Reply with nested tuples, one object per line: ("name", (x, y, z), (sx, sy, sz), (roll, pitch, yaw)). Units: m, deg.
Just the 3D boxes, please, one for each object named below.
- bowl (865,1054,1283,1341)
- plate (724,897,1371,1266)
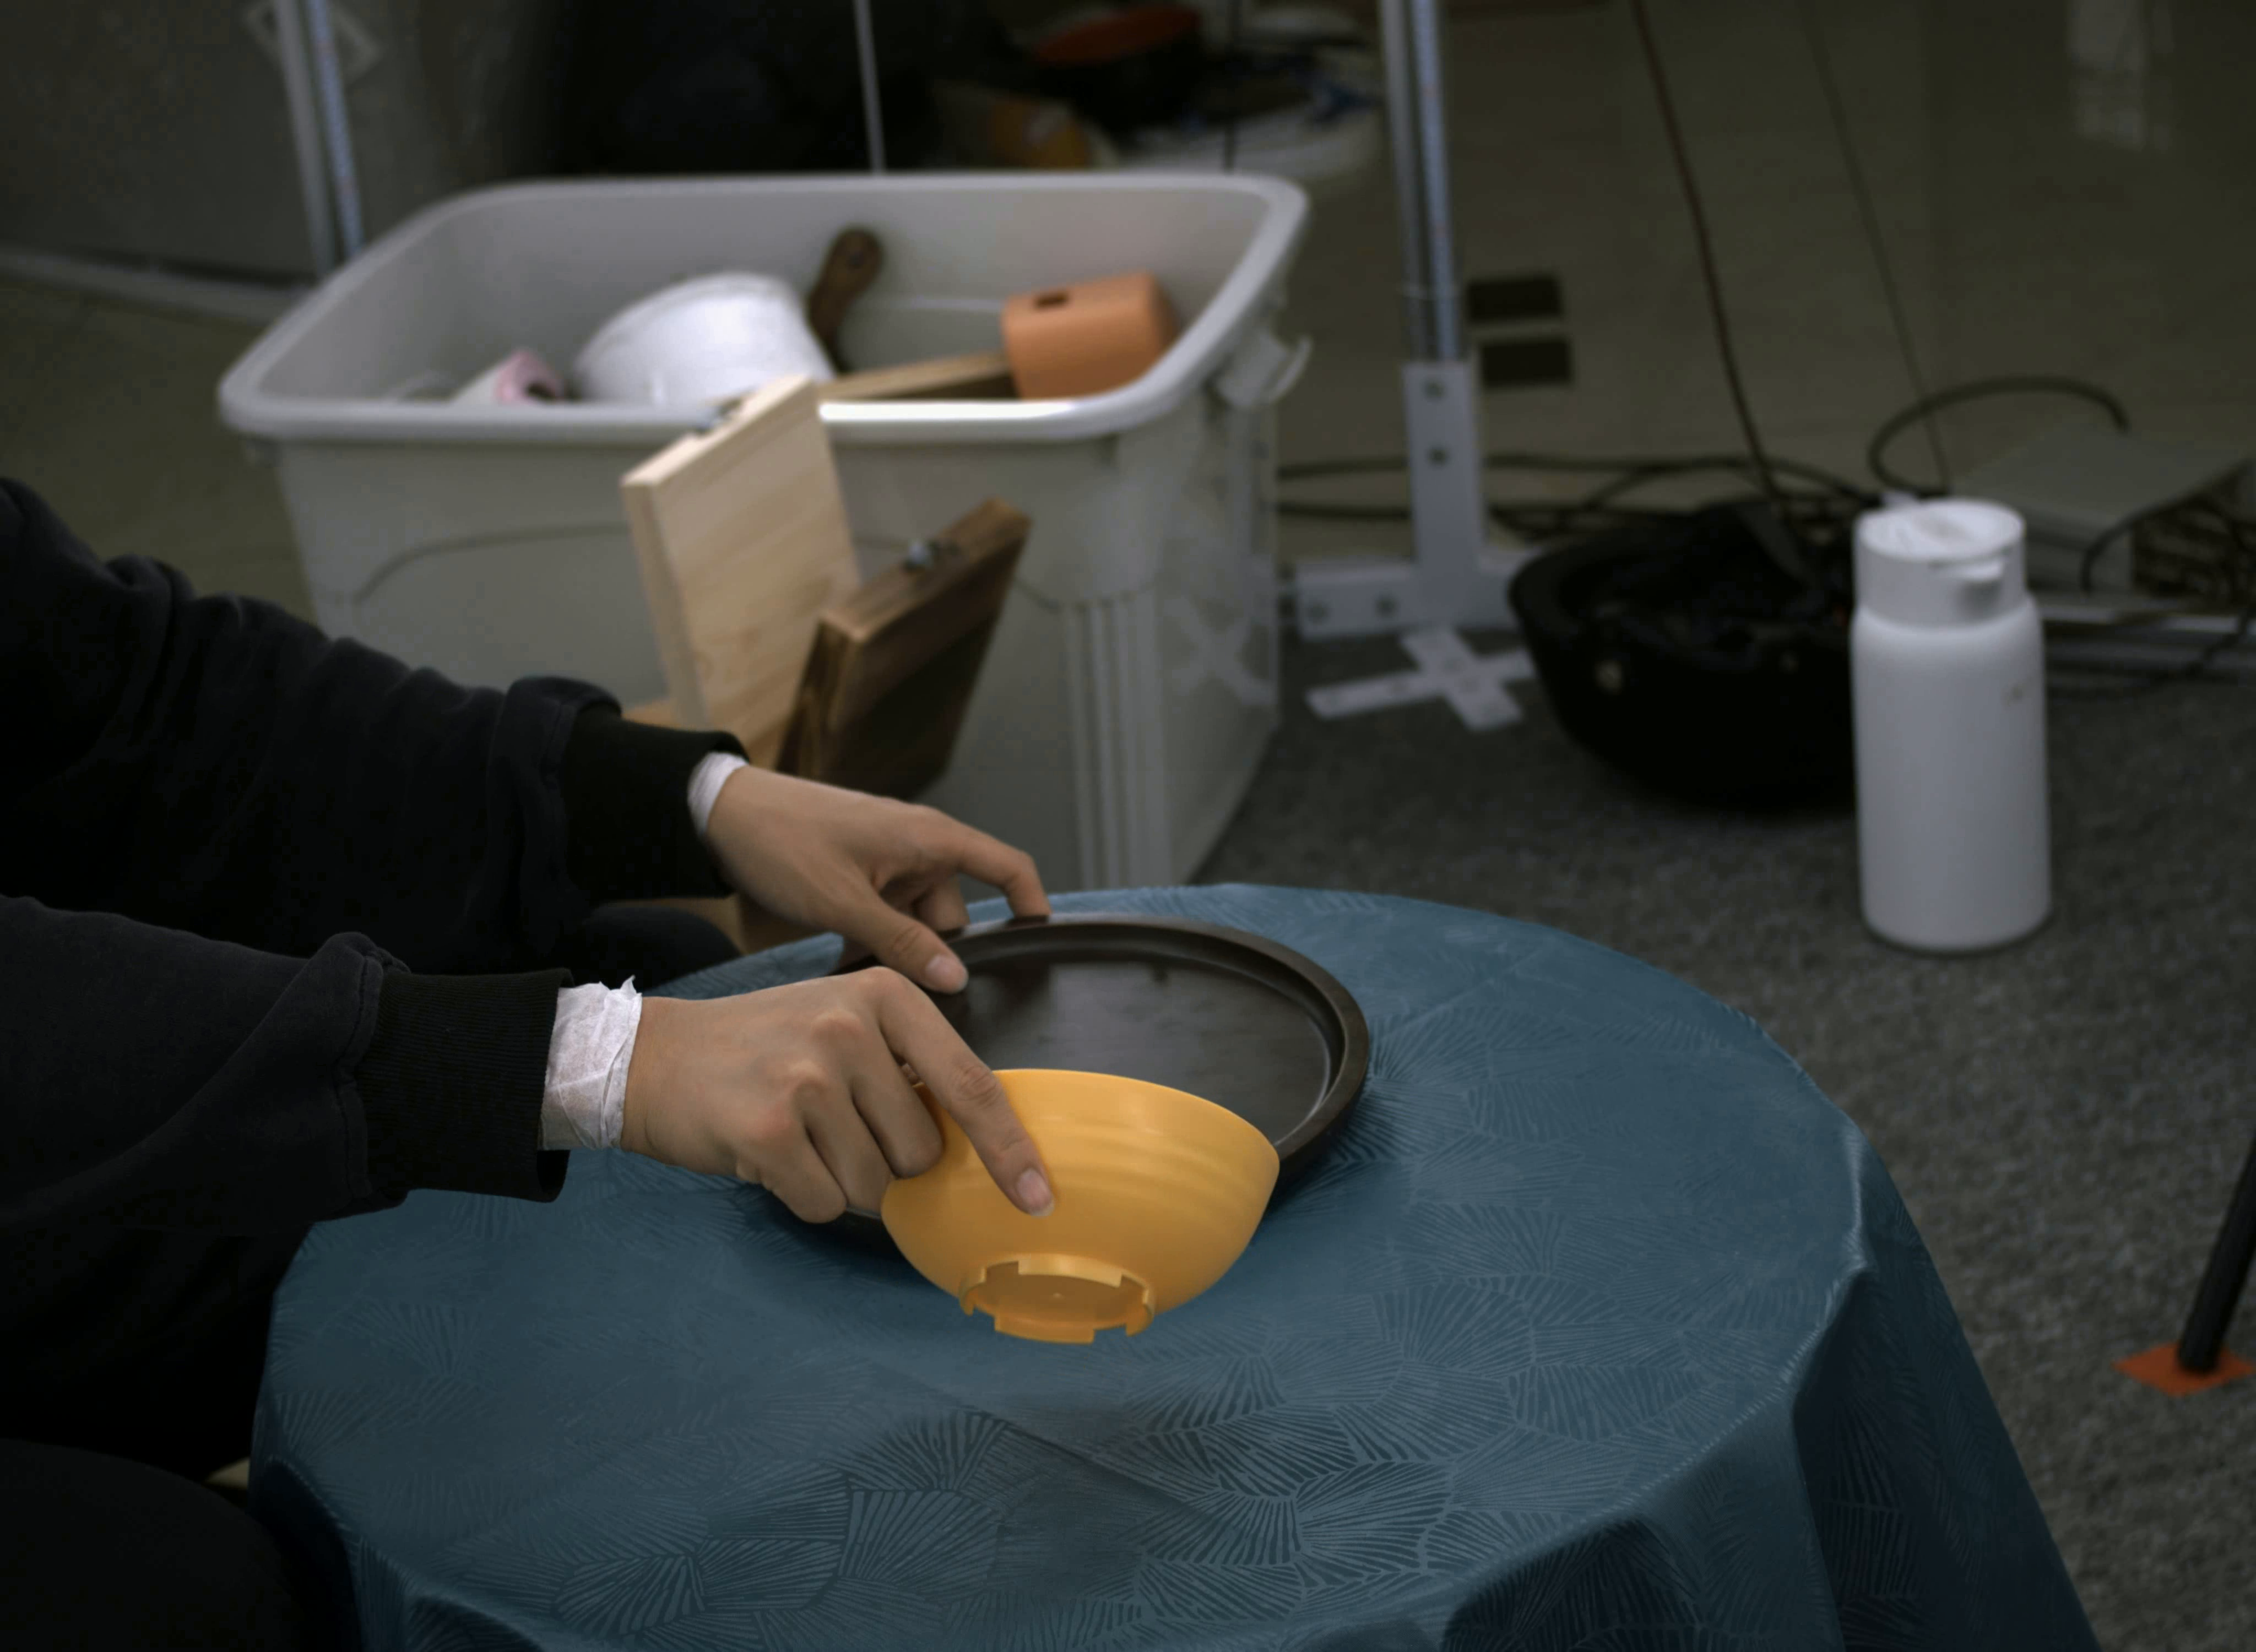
("bowl", (-0.022, 0.136, 1.938), (0.145, 0.147, 0.059), (0, 62, 13))
("plate", (-0.031, 0.101, 2.205), (0.254, 0.029, 0.251), (-5, 28, 3))
